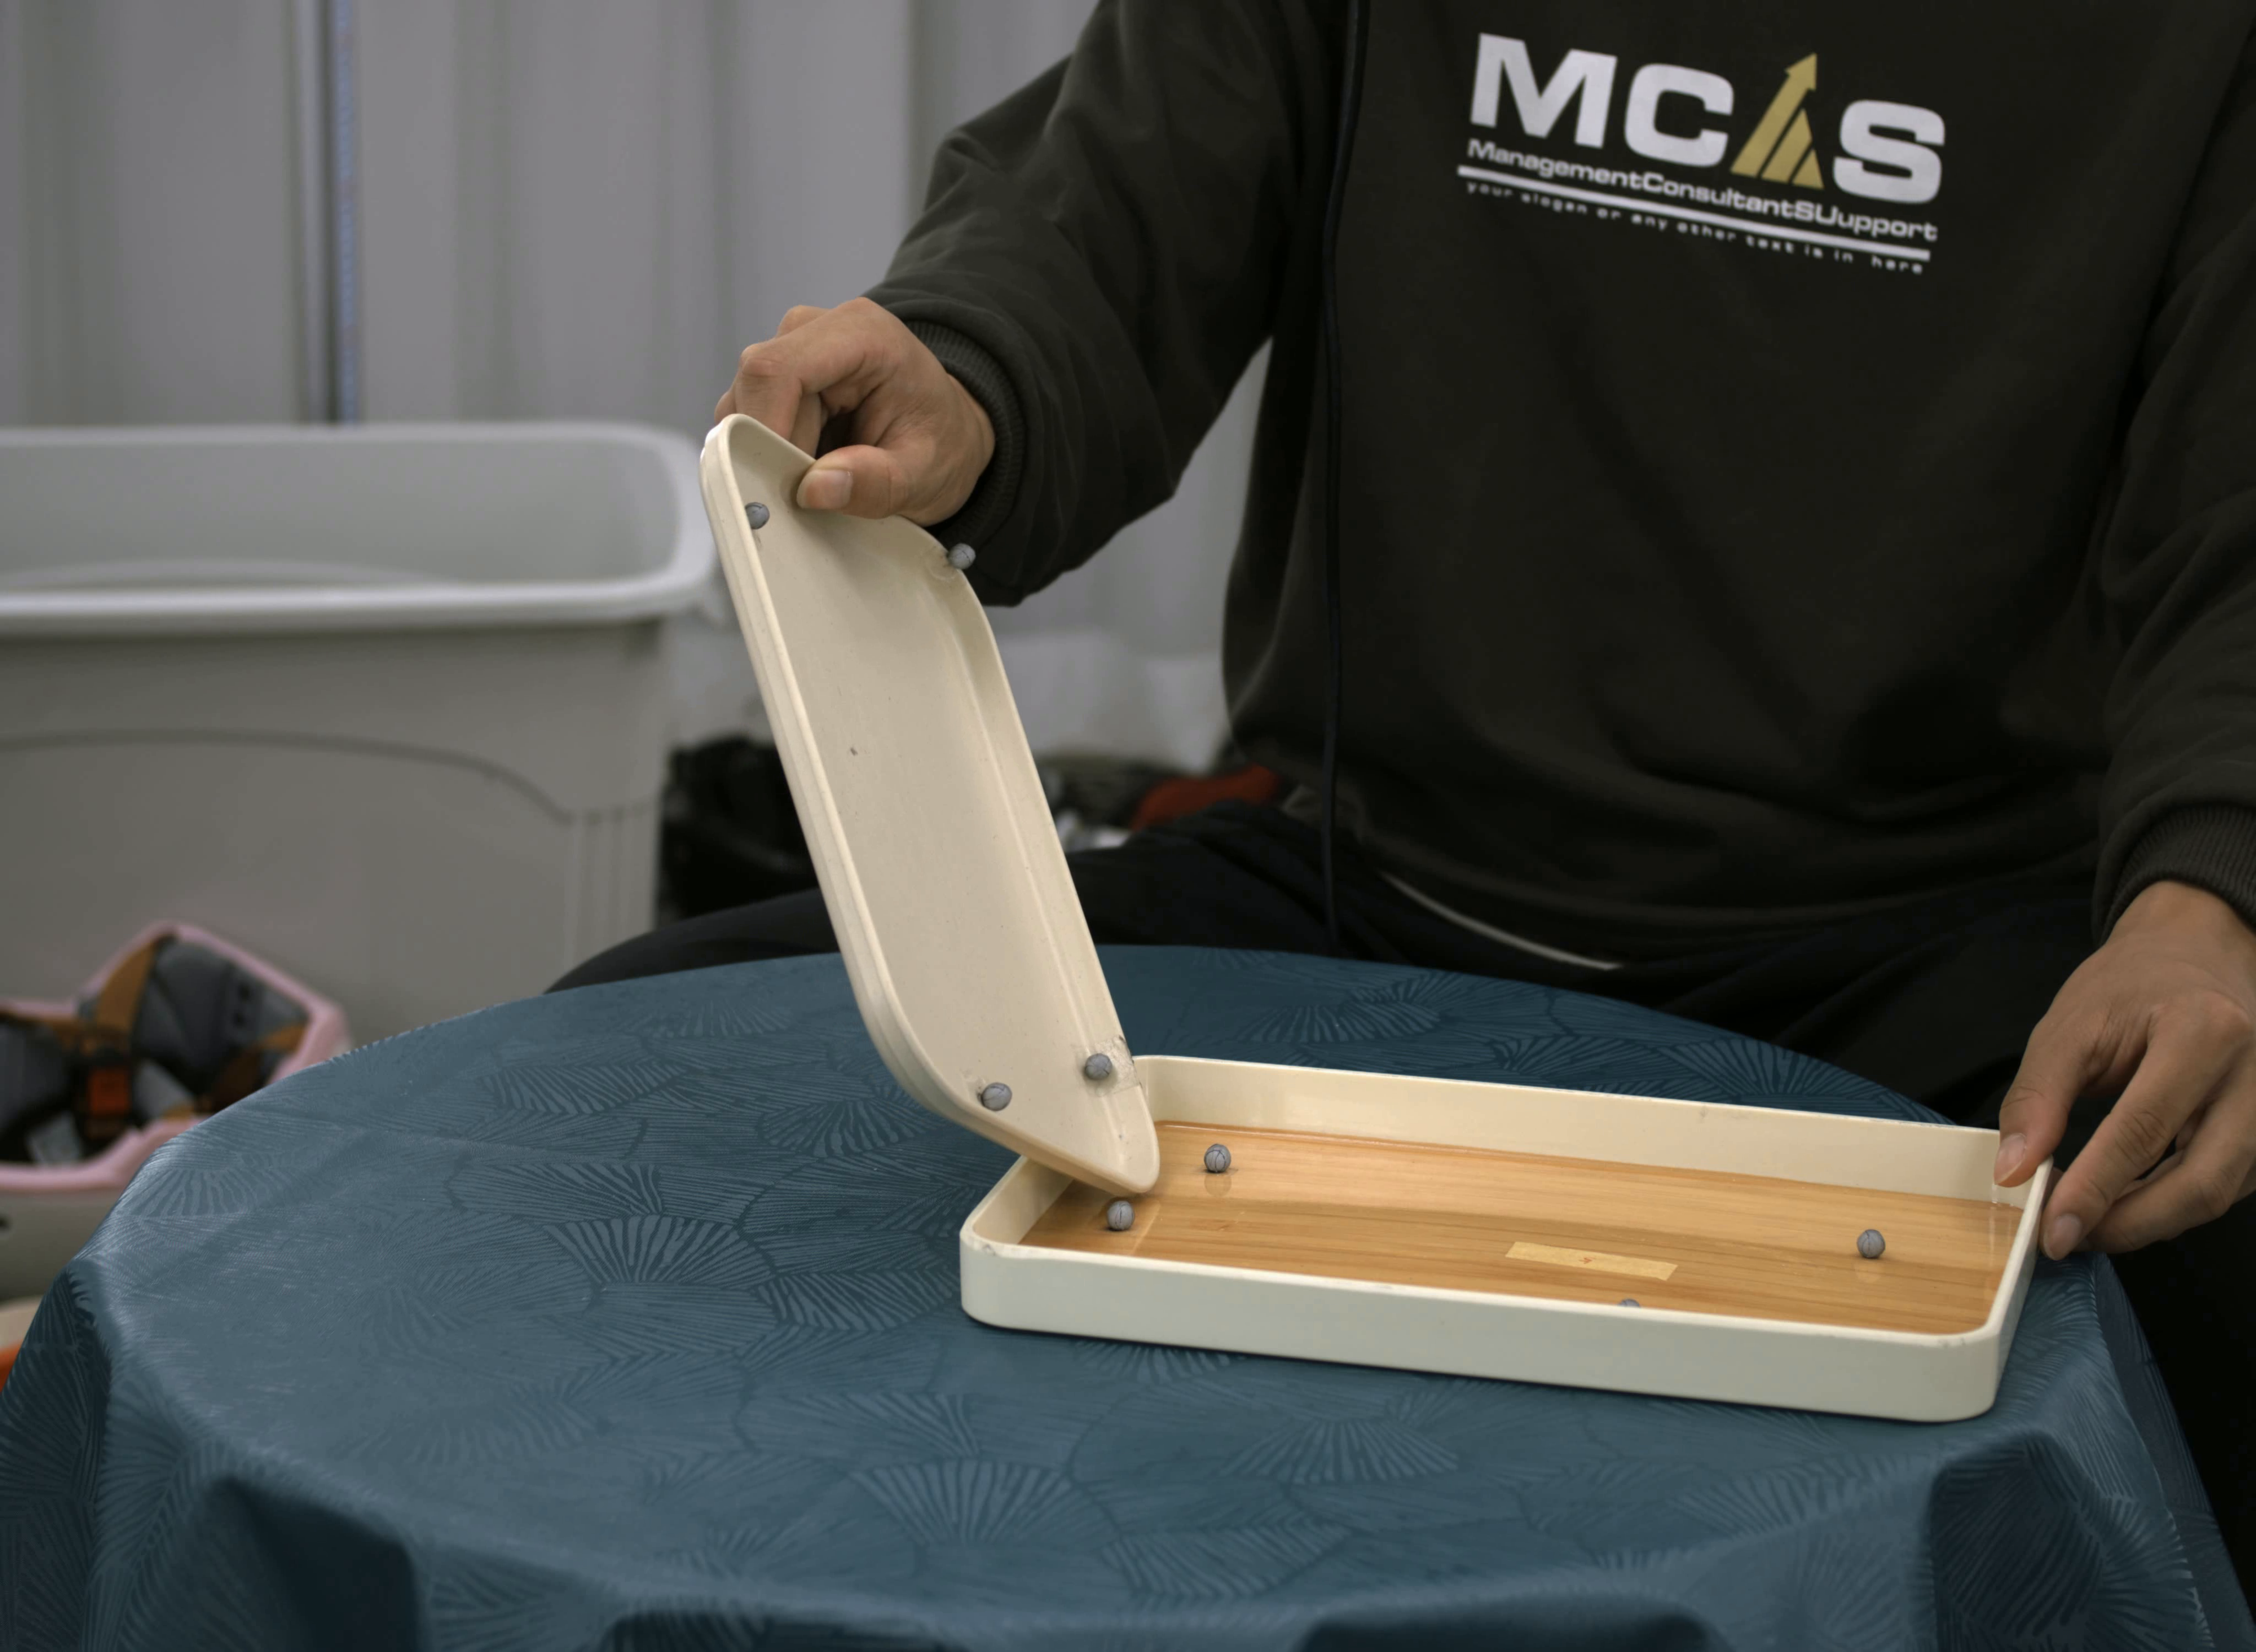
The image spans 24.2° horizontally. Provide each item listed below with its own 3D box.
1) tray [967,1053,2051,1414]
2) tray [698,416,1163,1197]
[{"bbox_3d":[0.117,0.118,1.566,0.298,0.027,0.191,5,16,13],"label":"tray"},{"bbox_3d":[-0.062,-0.003,1.600,0.017,0.238,0.173,-27,-25,18],"label":"tray"}]
